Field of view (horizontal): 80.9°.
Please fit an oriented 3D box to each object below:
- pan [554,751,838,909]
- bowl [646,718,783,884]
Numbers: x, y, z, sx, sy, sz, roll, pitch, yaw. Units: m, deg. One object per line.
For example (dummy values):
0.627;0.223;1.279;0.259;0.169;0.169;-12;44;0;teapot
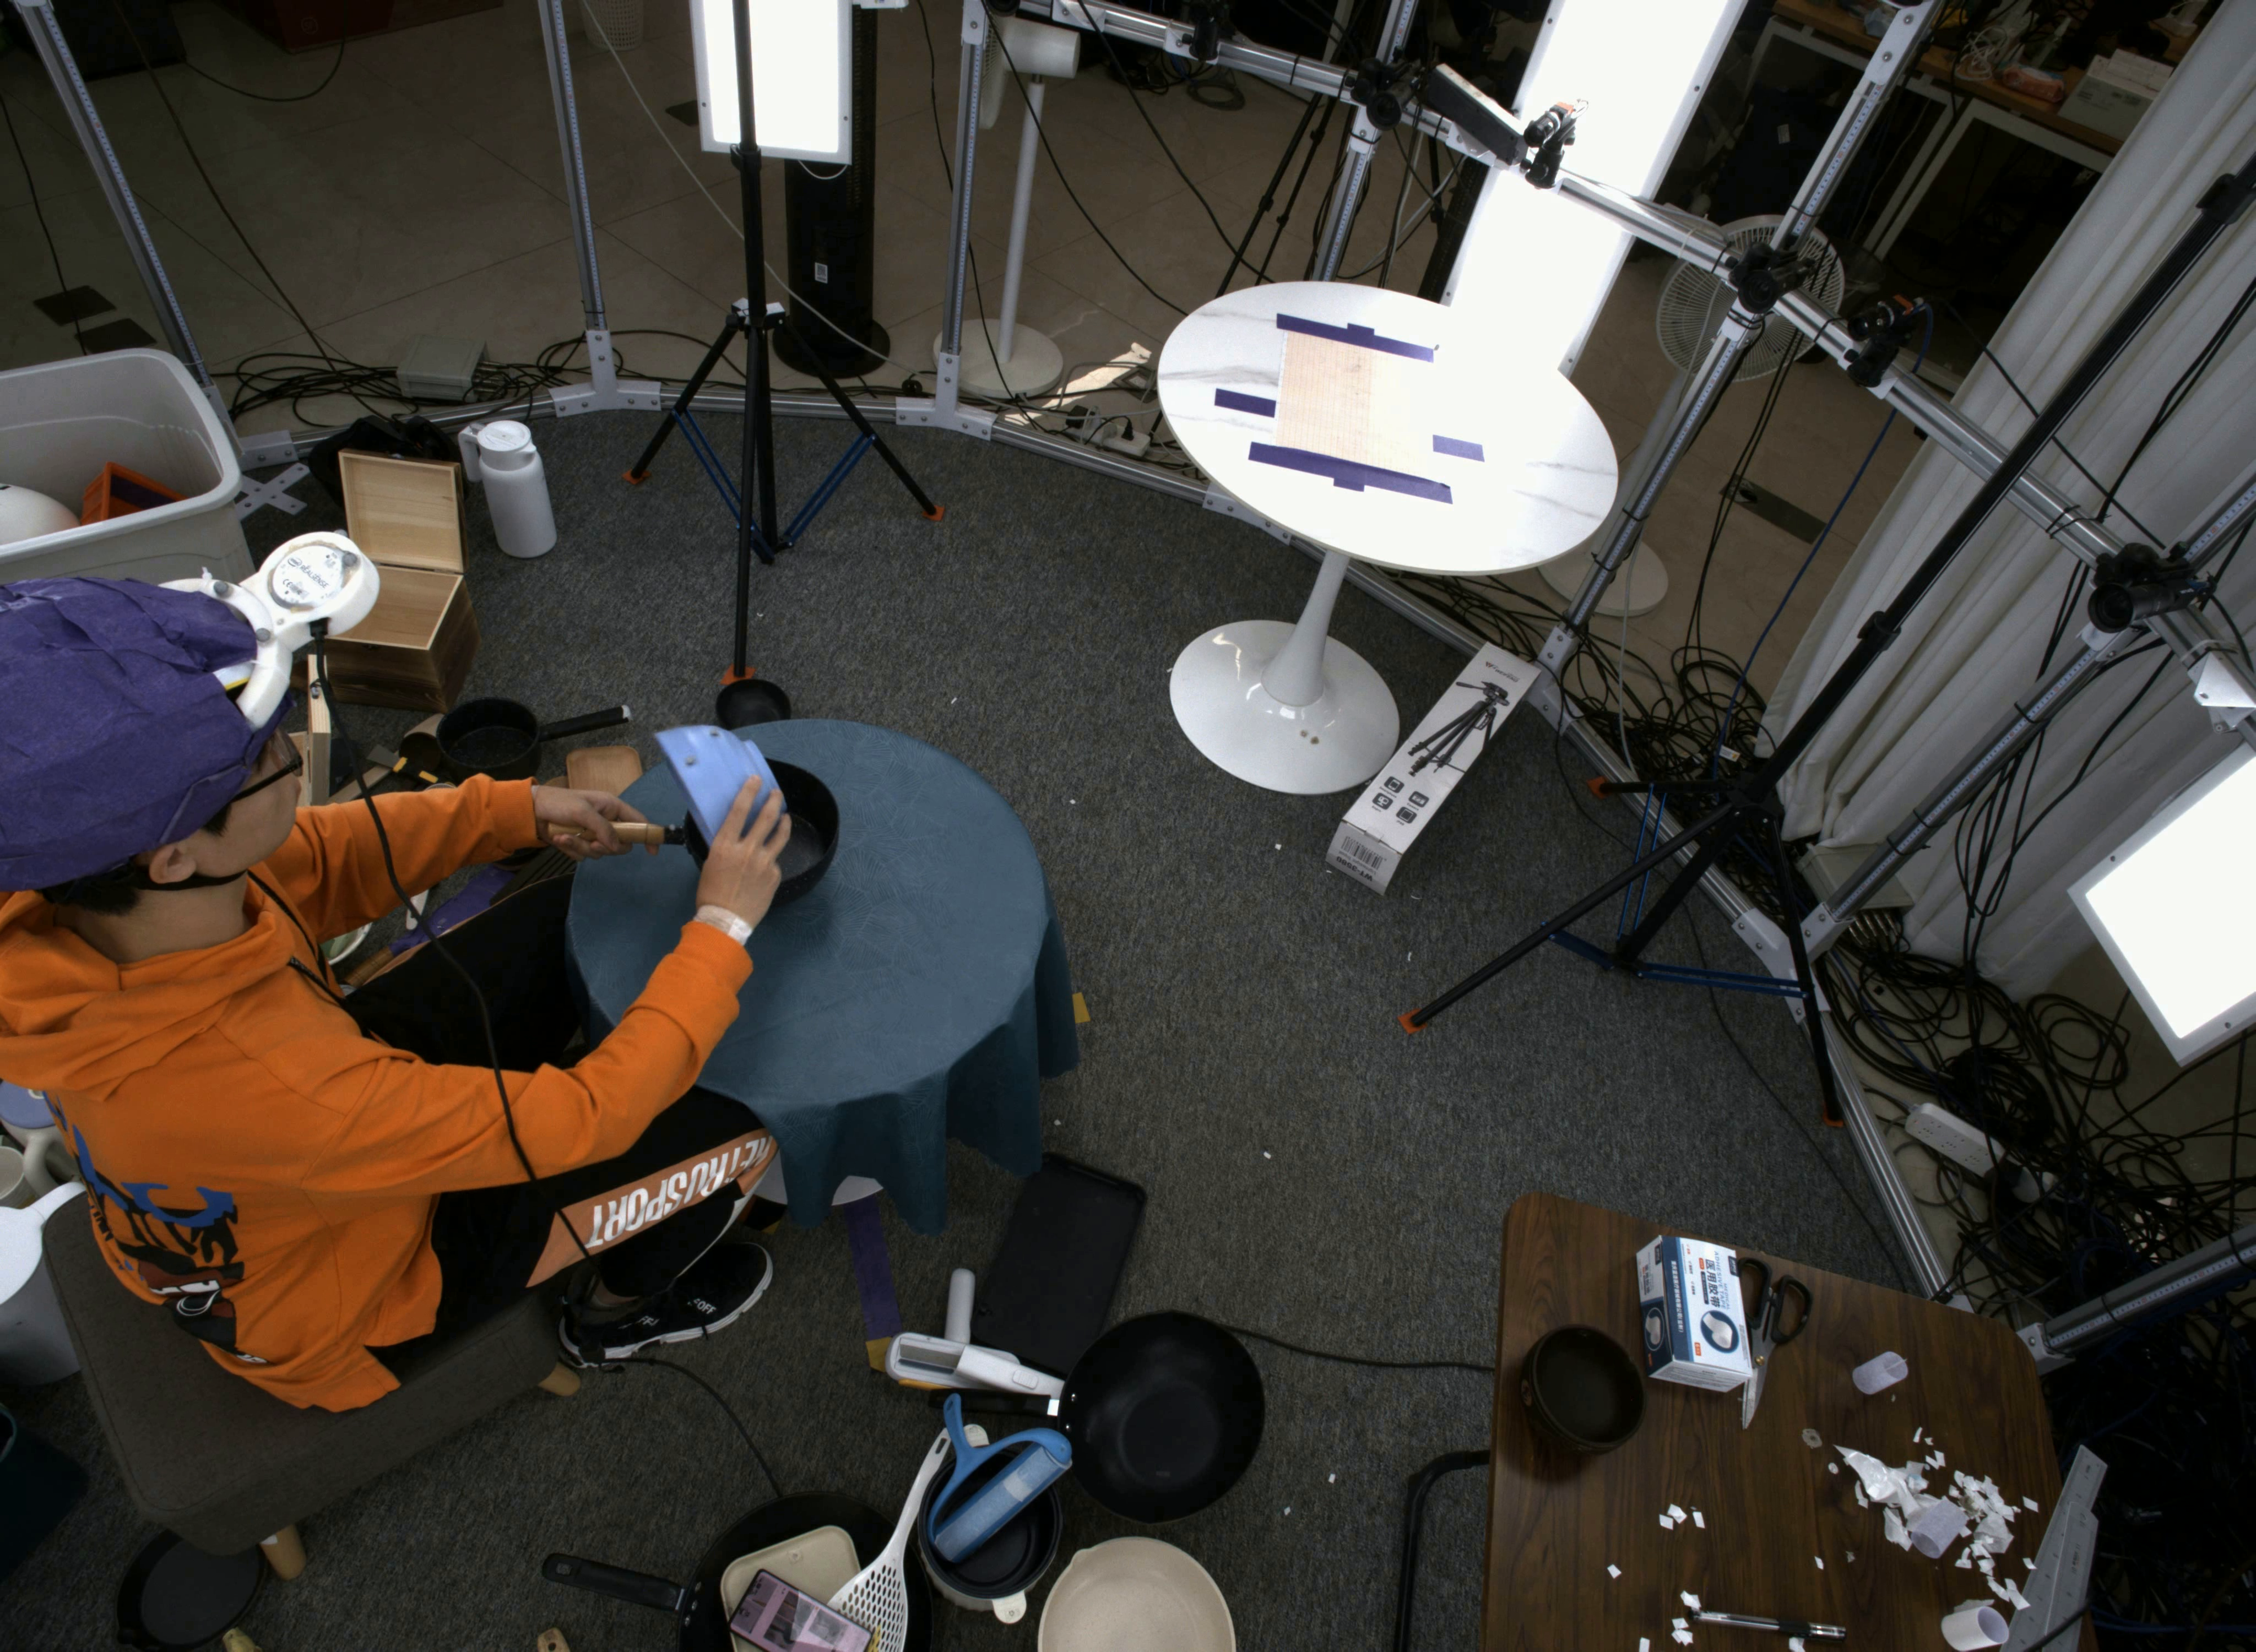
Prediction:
-0.525;0.015;1.562;0.344;0.110;0.203;-5;58;-19;pan
-0.457;-0.044;1.466;0.095;0.201;0.191;-31;64;-18;bowl
